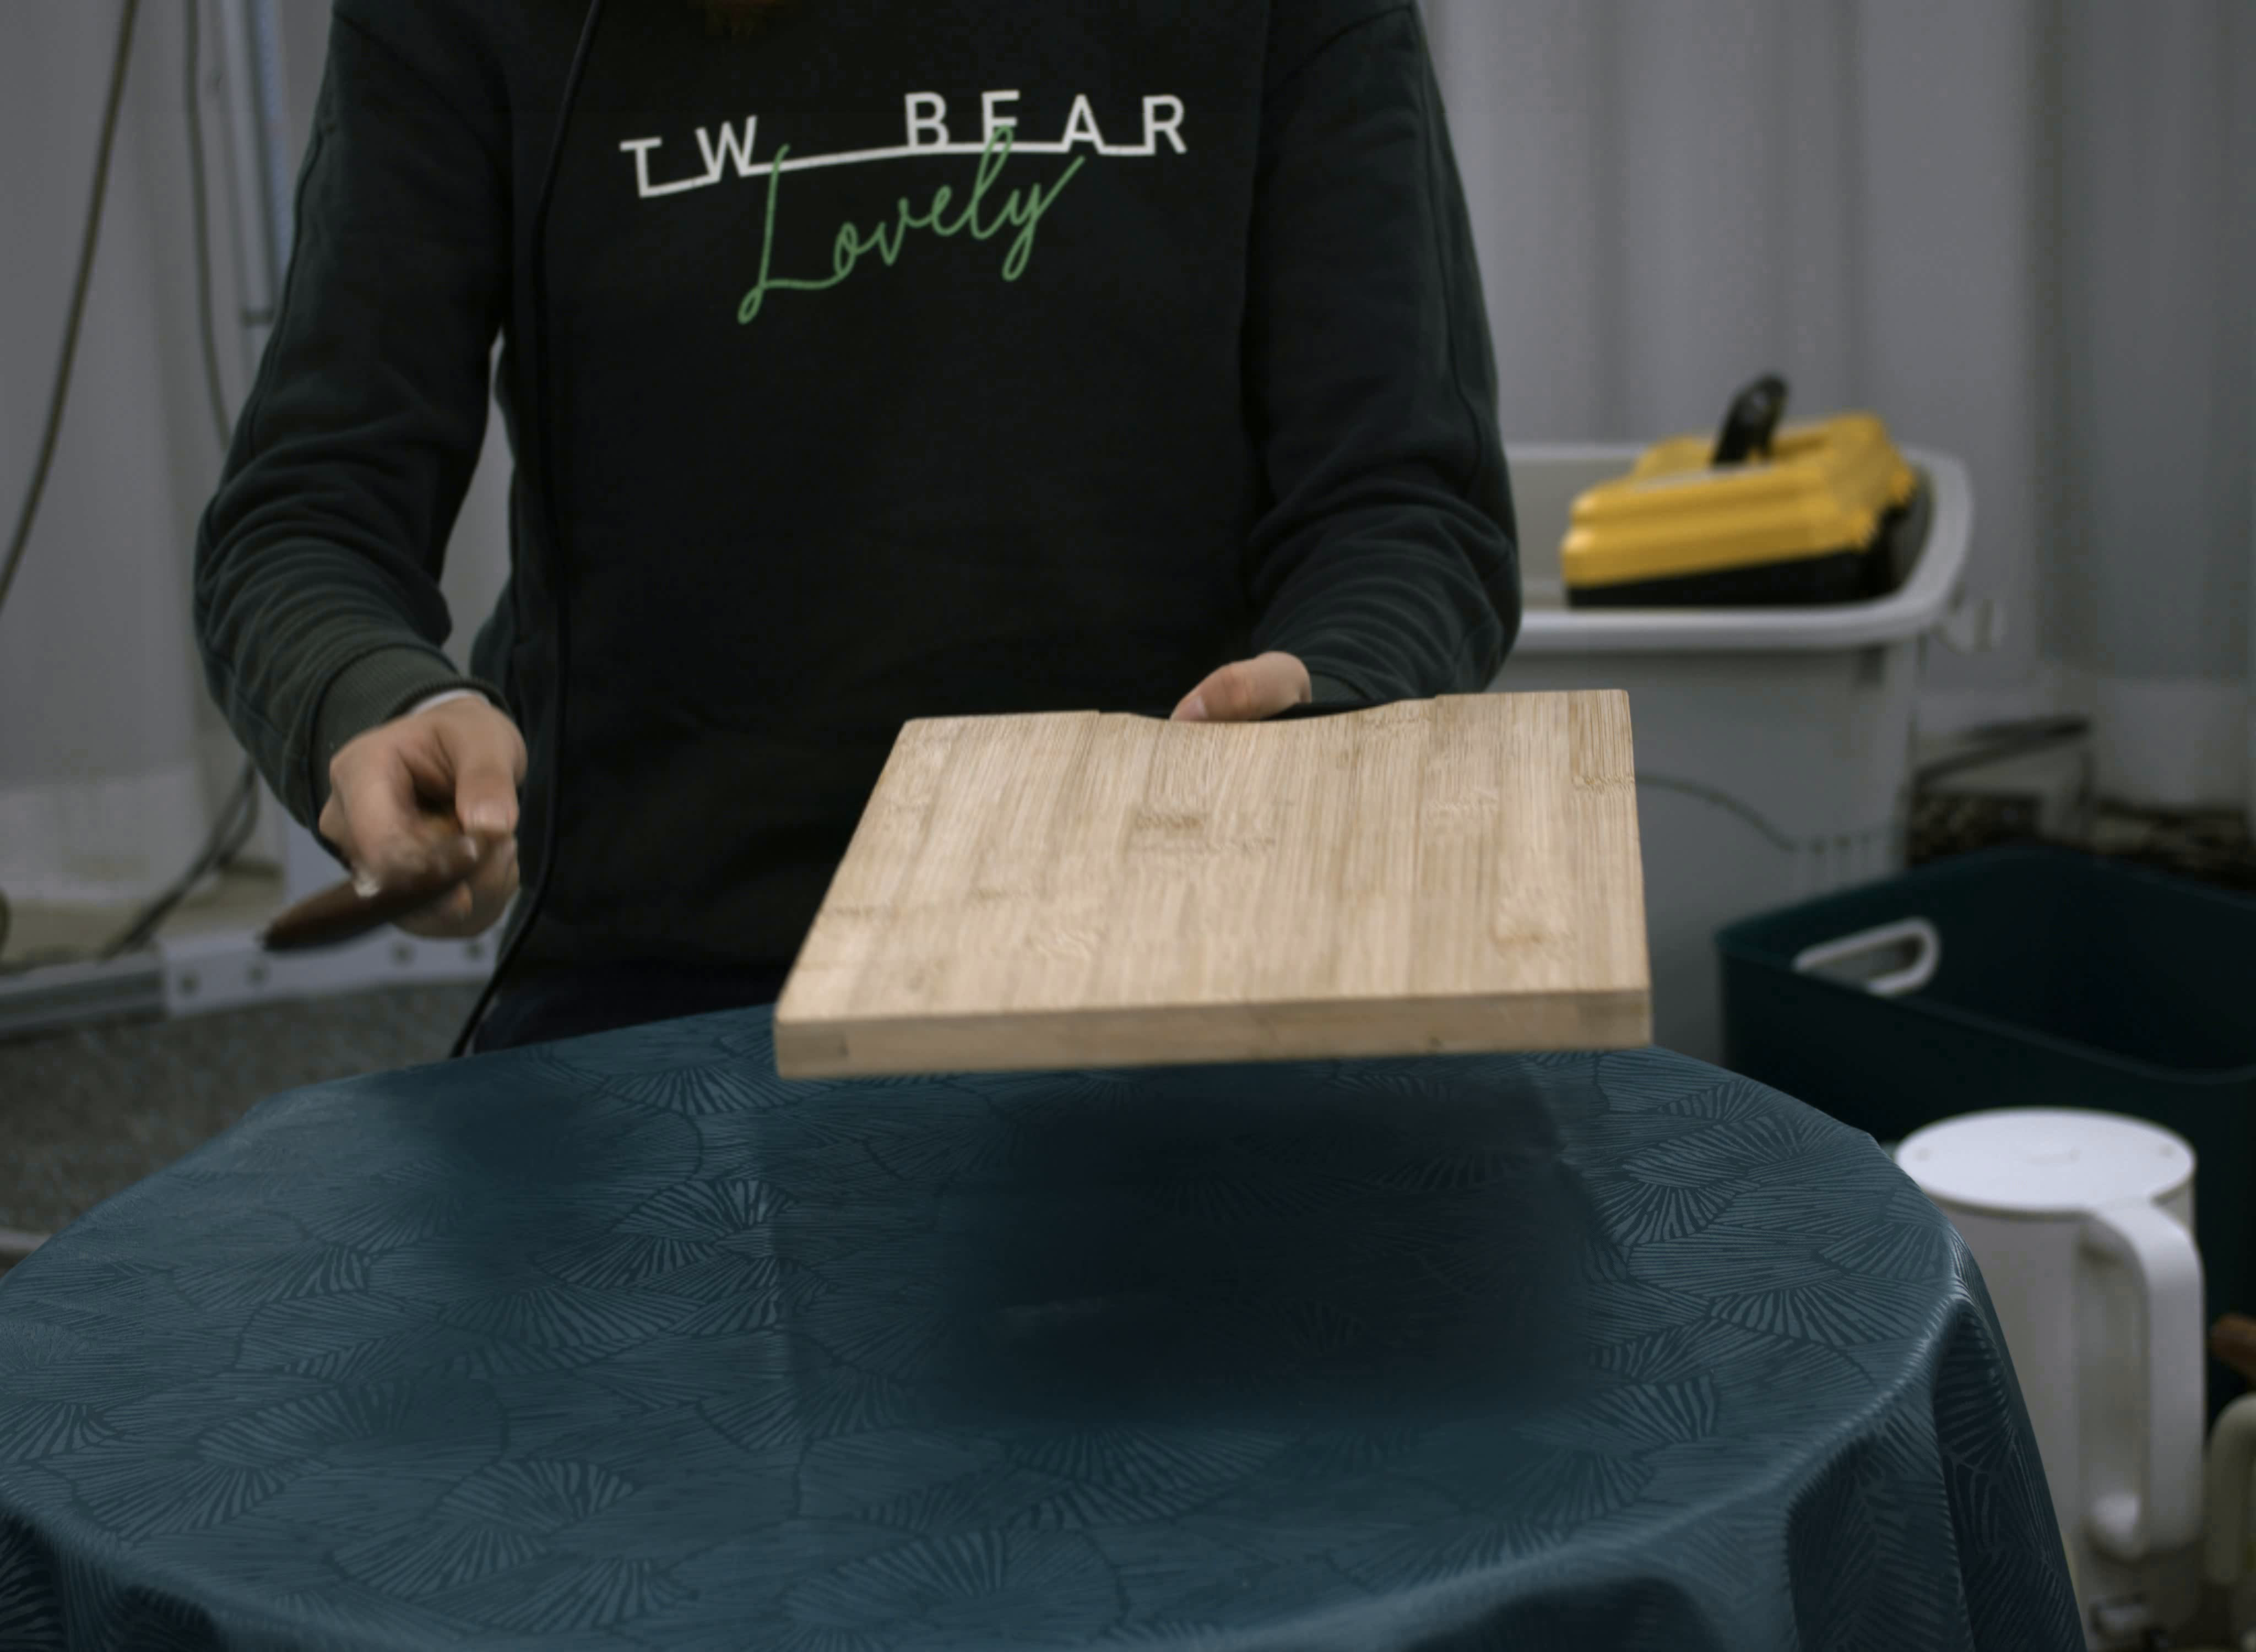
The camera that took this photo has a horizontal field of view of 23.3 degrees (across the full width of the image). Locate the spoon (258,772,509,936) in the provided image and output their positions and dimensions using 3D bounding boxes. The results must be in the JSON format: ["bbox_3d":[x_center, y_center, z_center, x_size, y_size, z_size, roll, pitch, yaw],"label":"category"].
[{"bbox_3d":[-0.217,0.005,1.673,0.075,0.017,0.216,-26,6,6],"label":"spoon"}]

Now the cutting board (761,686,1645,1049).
[{"bbox_3d":[0.034,0.009,1.653,0.250,0.023,0.351,-2,15,4],"label":"cutting board"}]
